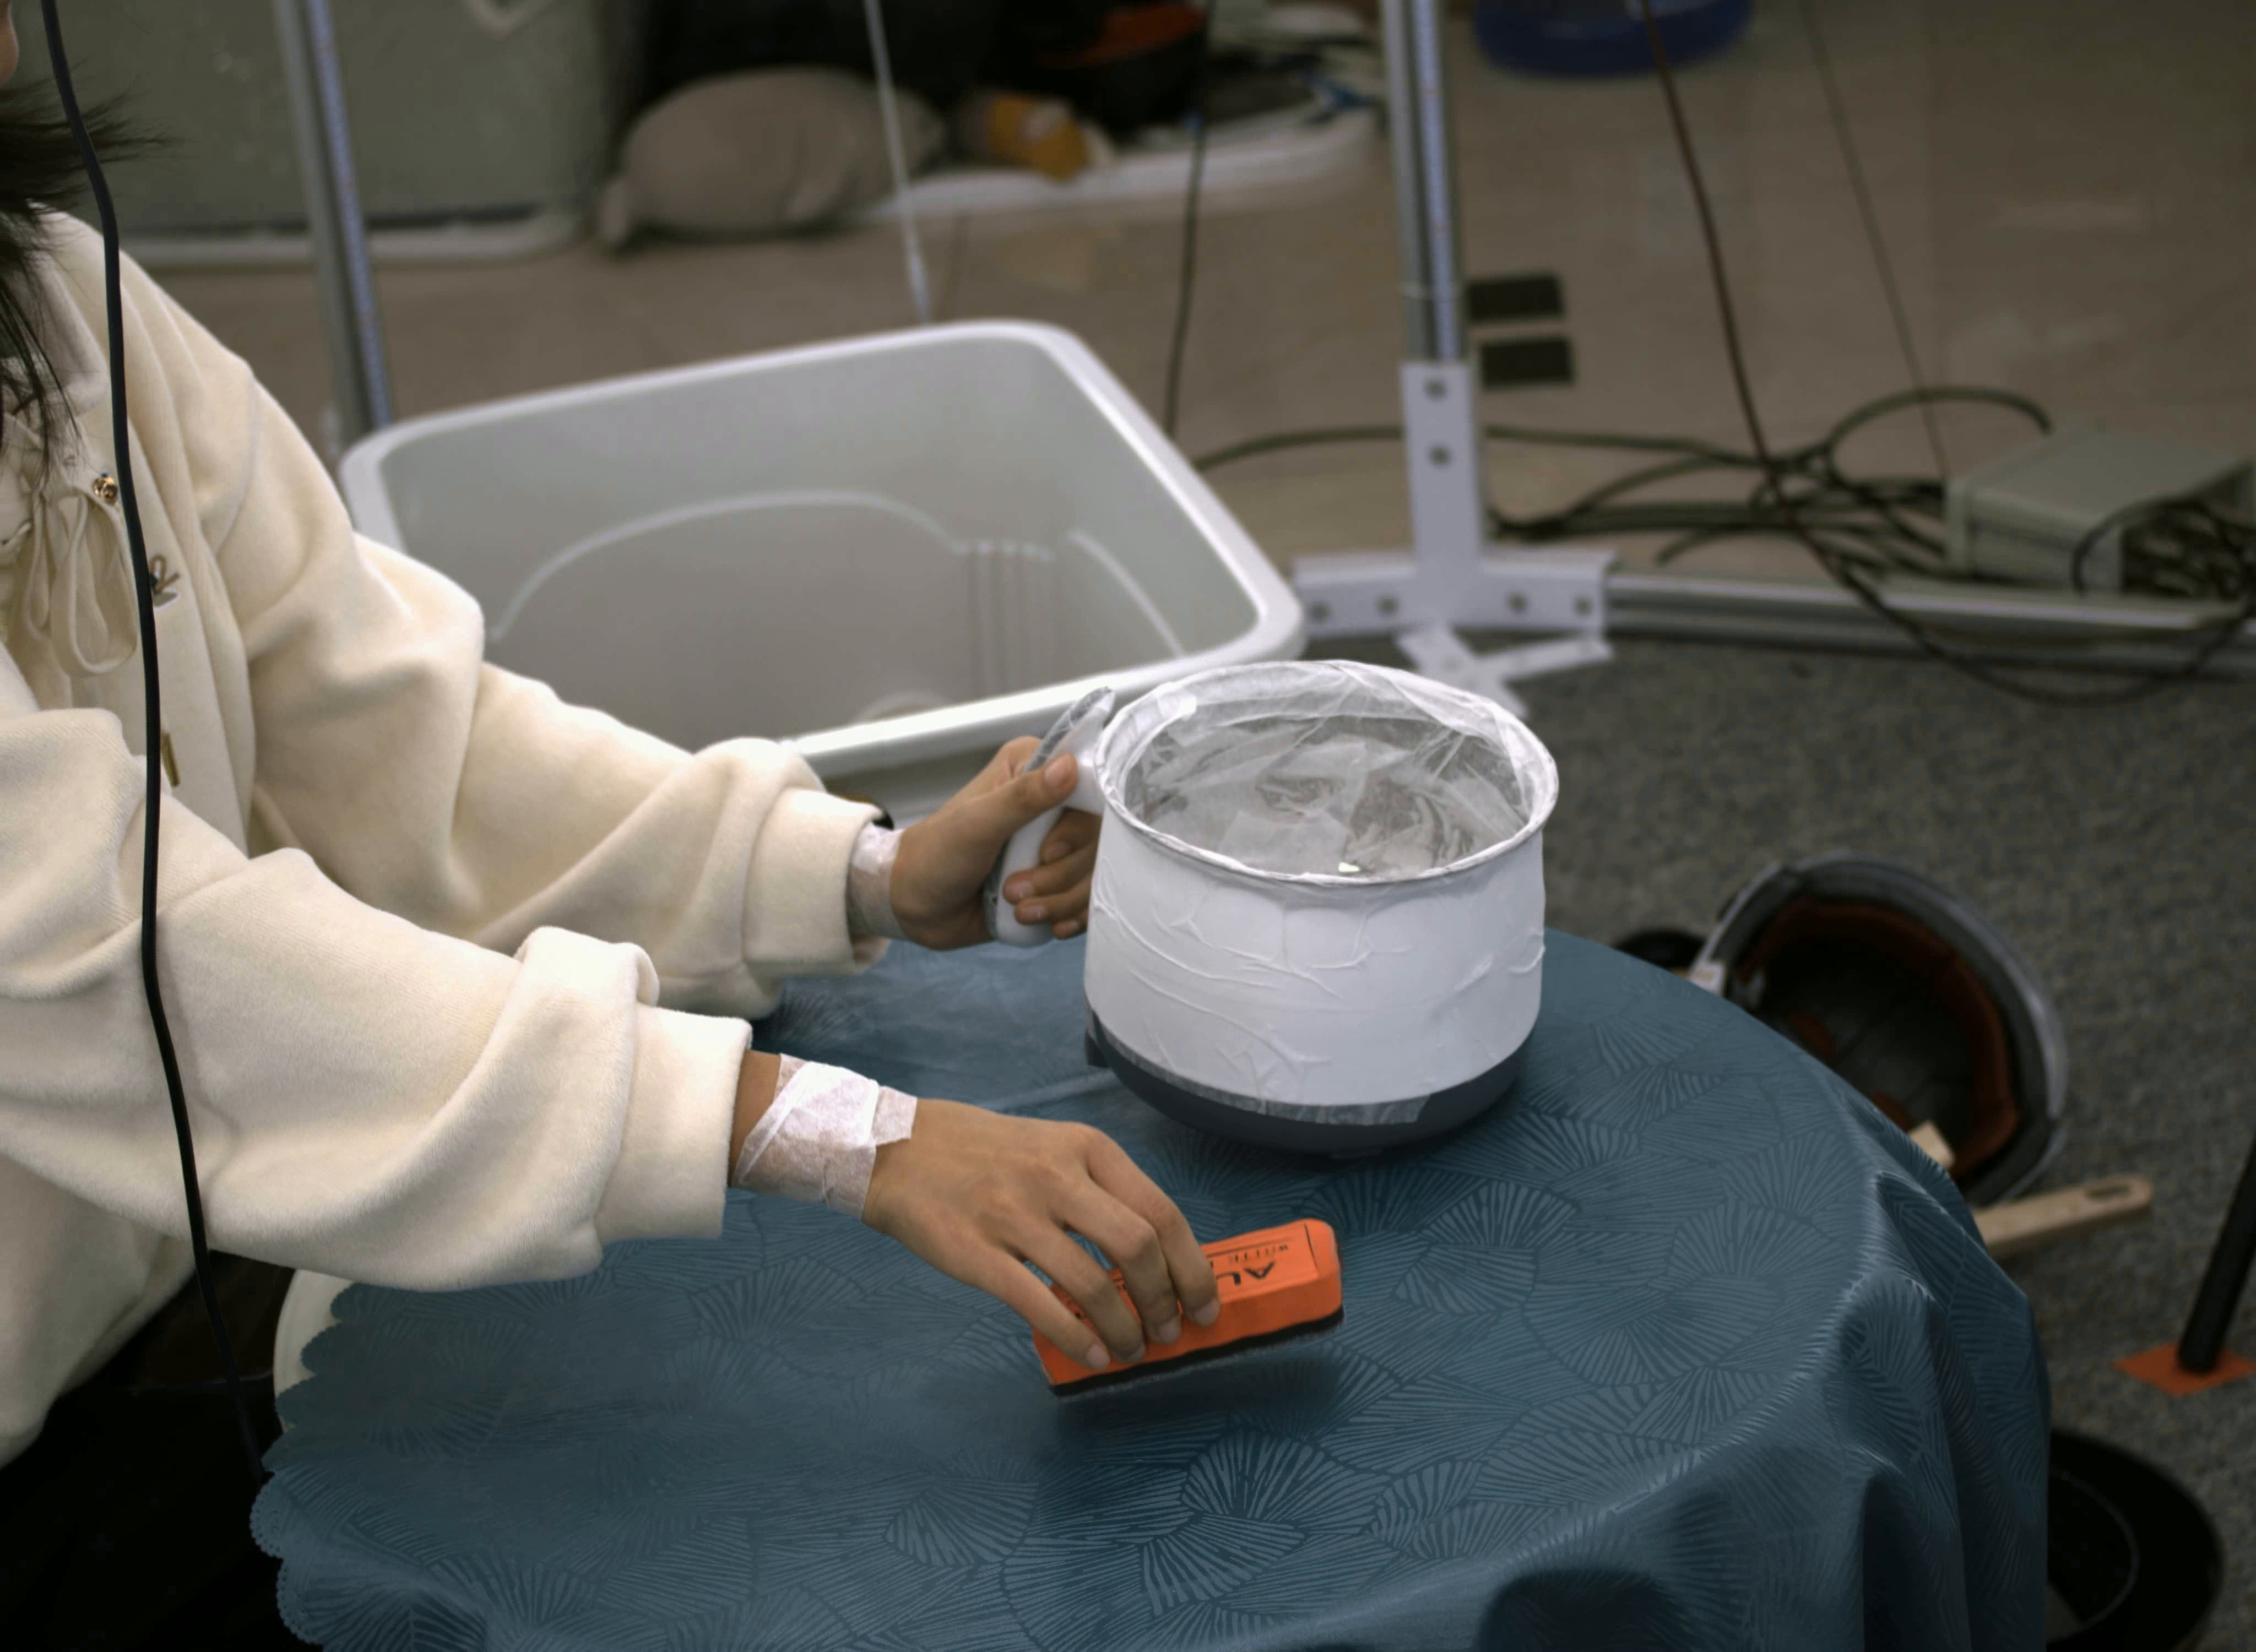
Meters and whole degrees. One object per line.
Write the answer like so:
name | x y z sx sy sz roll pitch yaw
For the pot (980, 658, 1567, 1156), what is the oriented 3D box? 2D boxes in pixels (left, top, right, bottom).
pot | 0.049 0.024 2.182 0.232 0.139 0.176 18 31 23

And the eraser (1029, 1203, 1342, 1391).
eraser | 0.019 0.165 1.996 0.108 0.023 0.058 -17 17 3
